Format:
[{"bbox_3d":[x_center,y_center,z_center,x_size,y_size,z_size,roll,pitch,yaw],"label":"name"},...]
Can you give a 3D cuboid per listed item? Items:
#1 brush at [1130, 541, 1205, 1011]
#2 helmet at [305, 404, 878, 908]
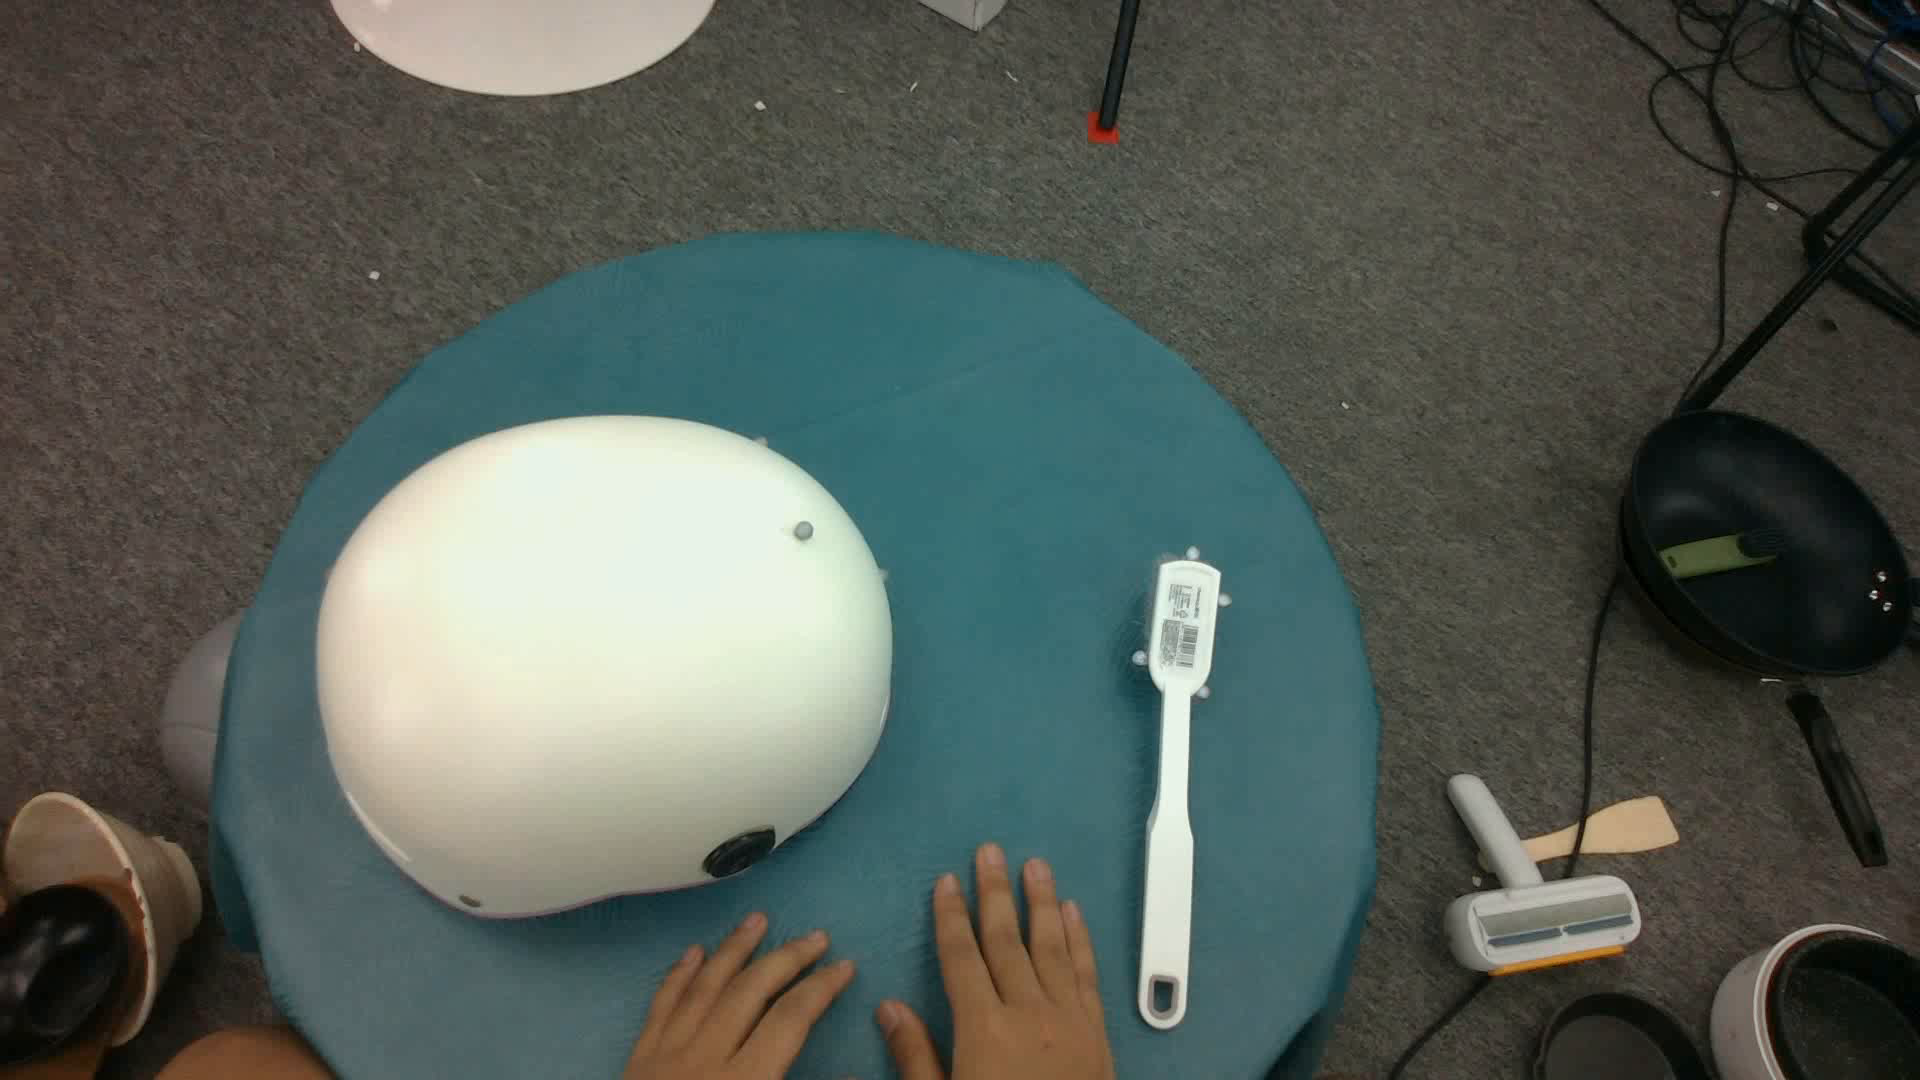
[{"bbox_3d":[0.104,0.115,0.713,0.034,0.050,0.244,5,73,0],"label":"brush"},{"bbox_3d":[-0.166,0.033,0.640,0.269,0.166,0.237,-15,63,-17],"label":"helmet"}]
